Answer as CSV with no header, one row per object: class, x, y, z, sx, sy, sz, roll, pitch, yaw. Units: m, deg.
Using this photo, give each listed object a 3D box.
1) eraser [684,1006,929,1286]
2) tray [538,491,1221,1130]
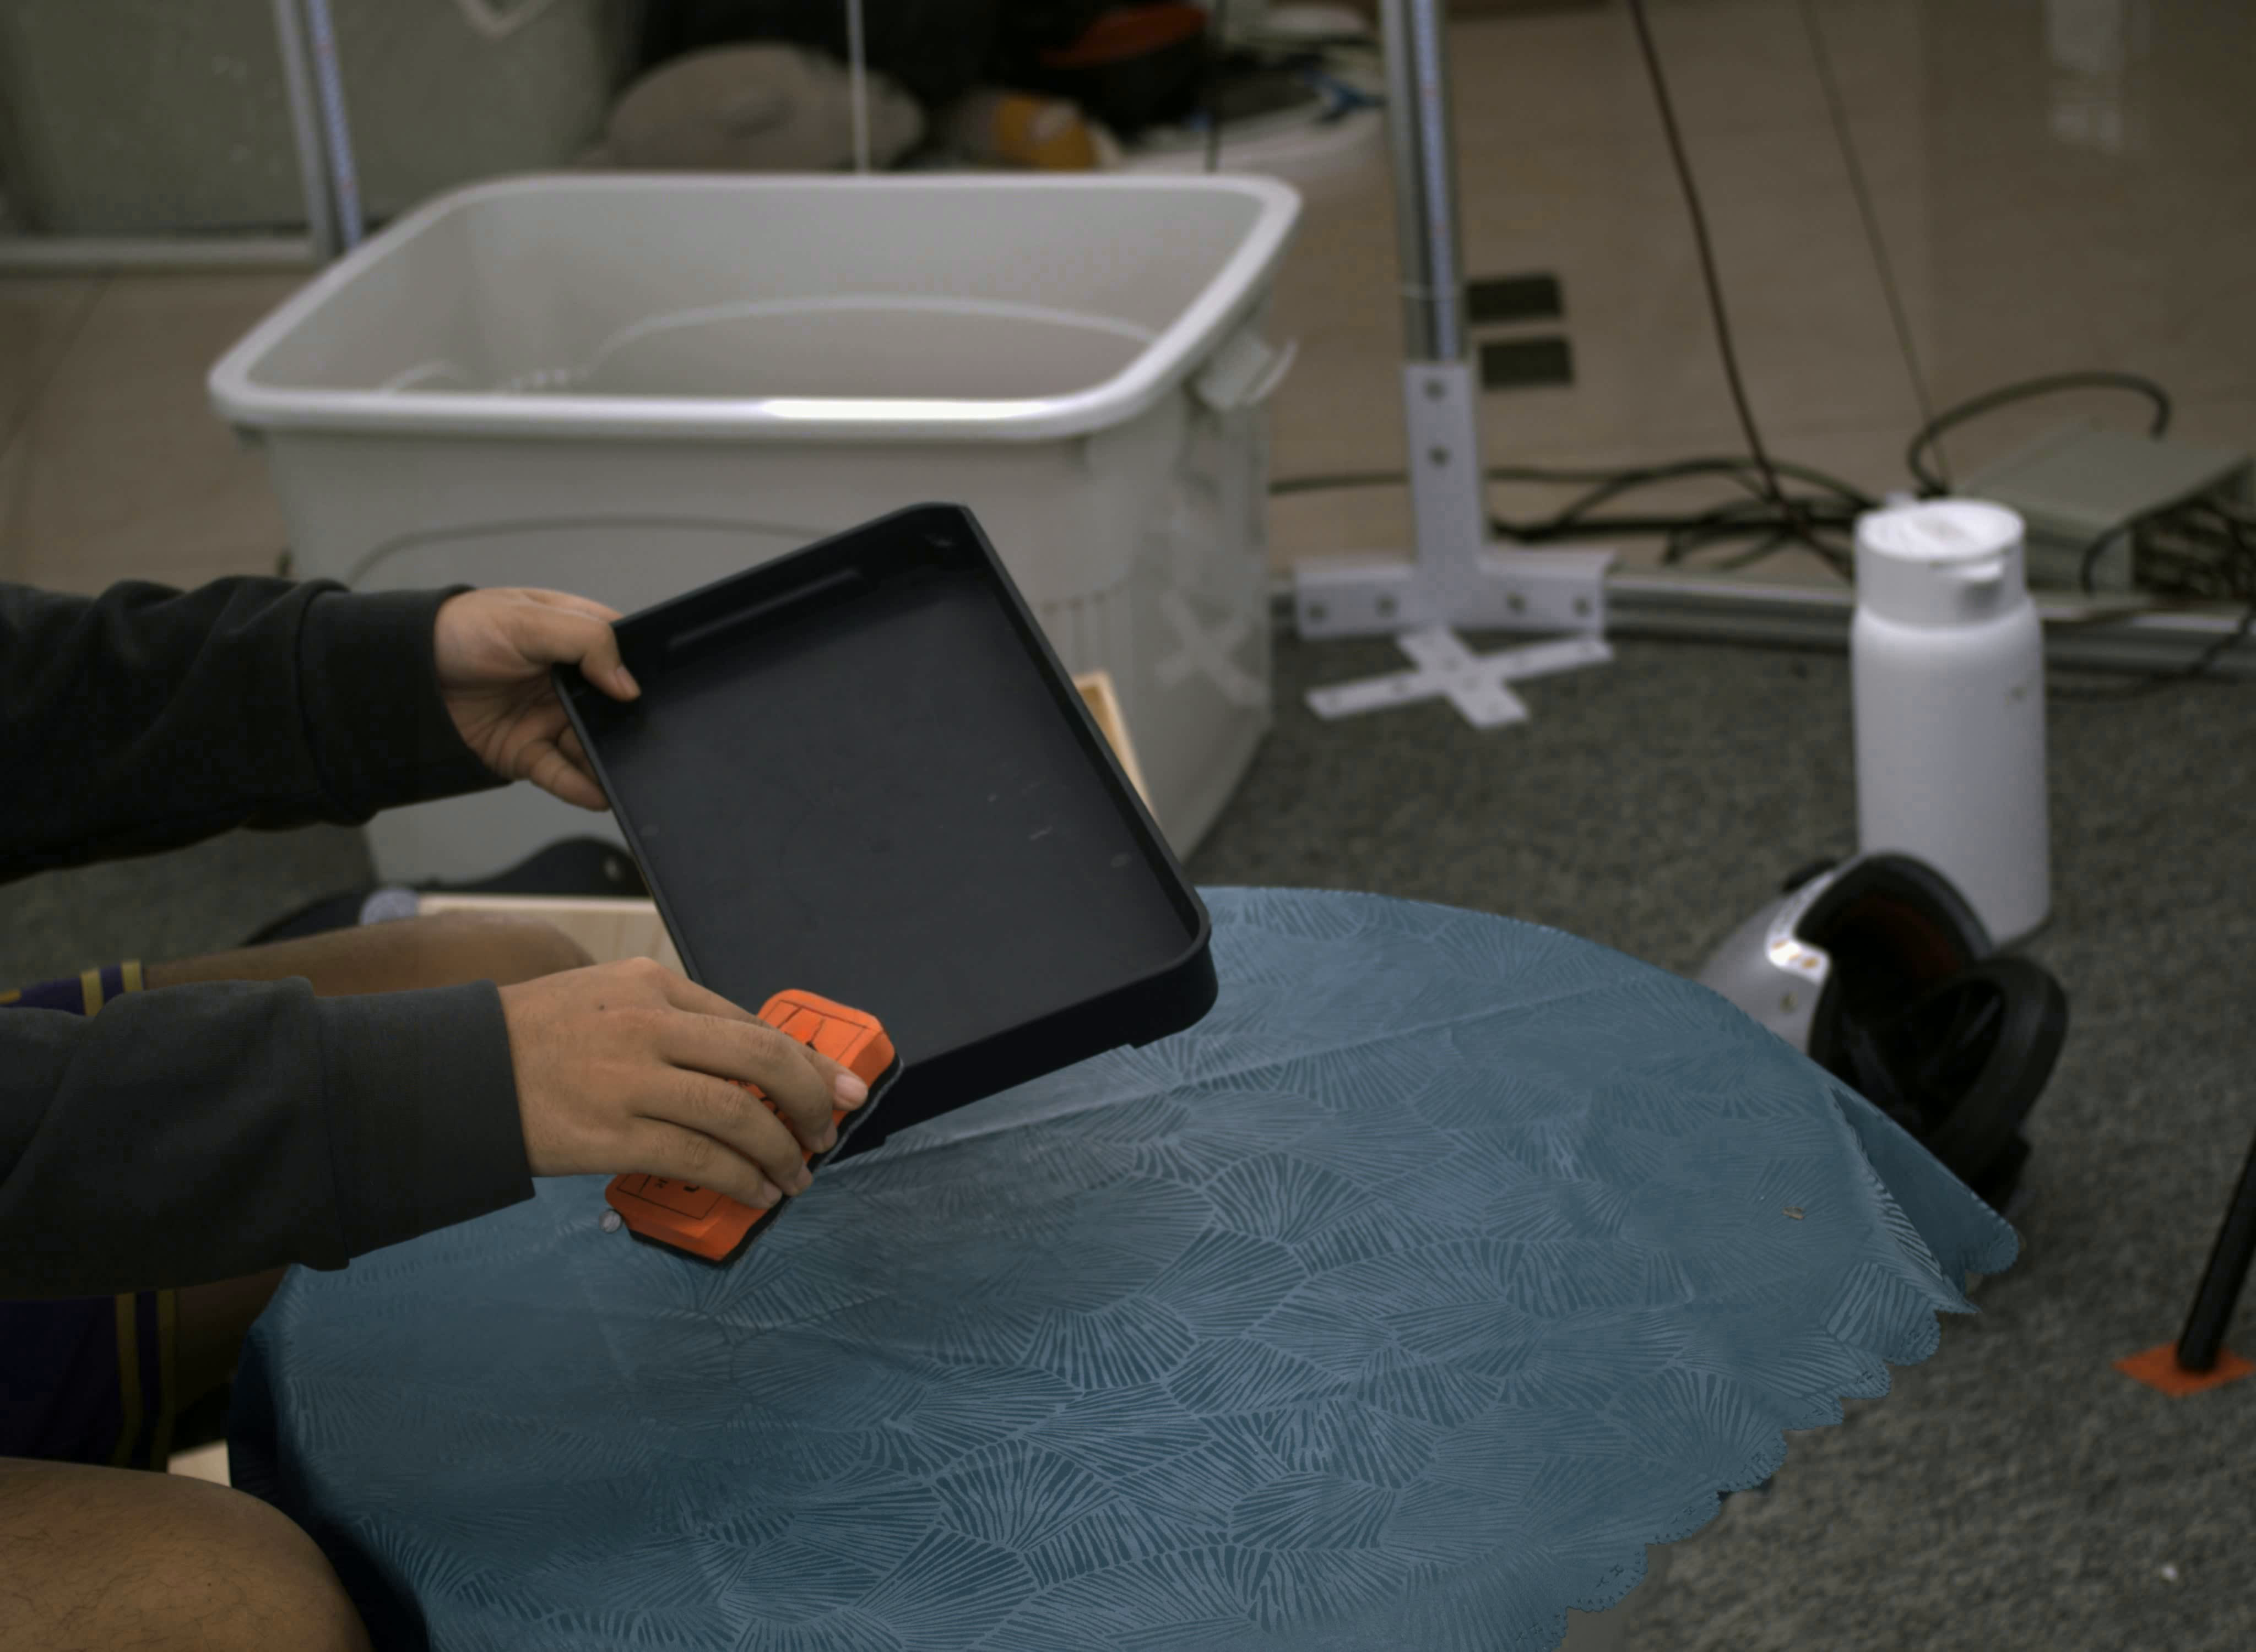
eraser,-0.113,0.112,1.997,0.059,0.023,0.106,0,51,28
tray,-0.099,-0.005,2.168,0.184,0.038,0.313,-23,42,-8
